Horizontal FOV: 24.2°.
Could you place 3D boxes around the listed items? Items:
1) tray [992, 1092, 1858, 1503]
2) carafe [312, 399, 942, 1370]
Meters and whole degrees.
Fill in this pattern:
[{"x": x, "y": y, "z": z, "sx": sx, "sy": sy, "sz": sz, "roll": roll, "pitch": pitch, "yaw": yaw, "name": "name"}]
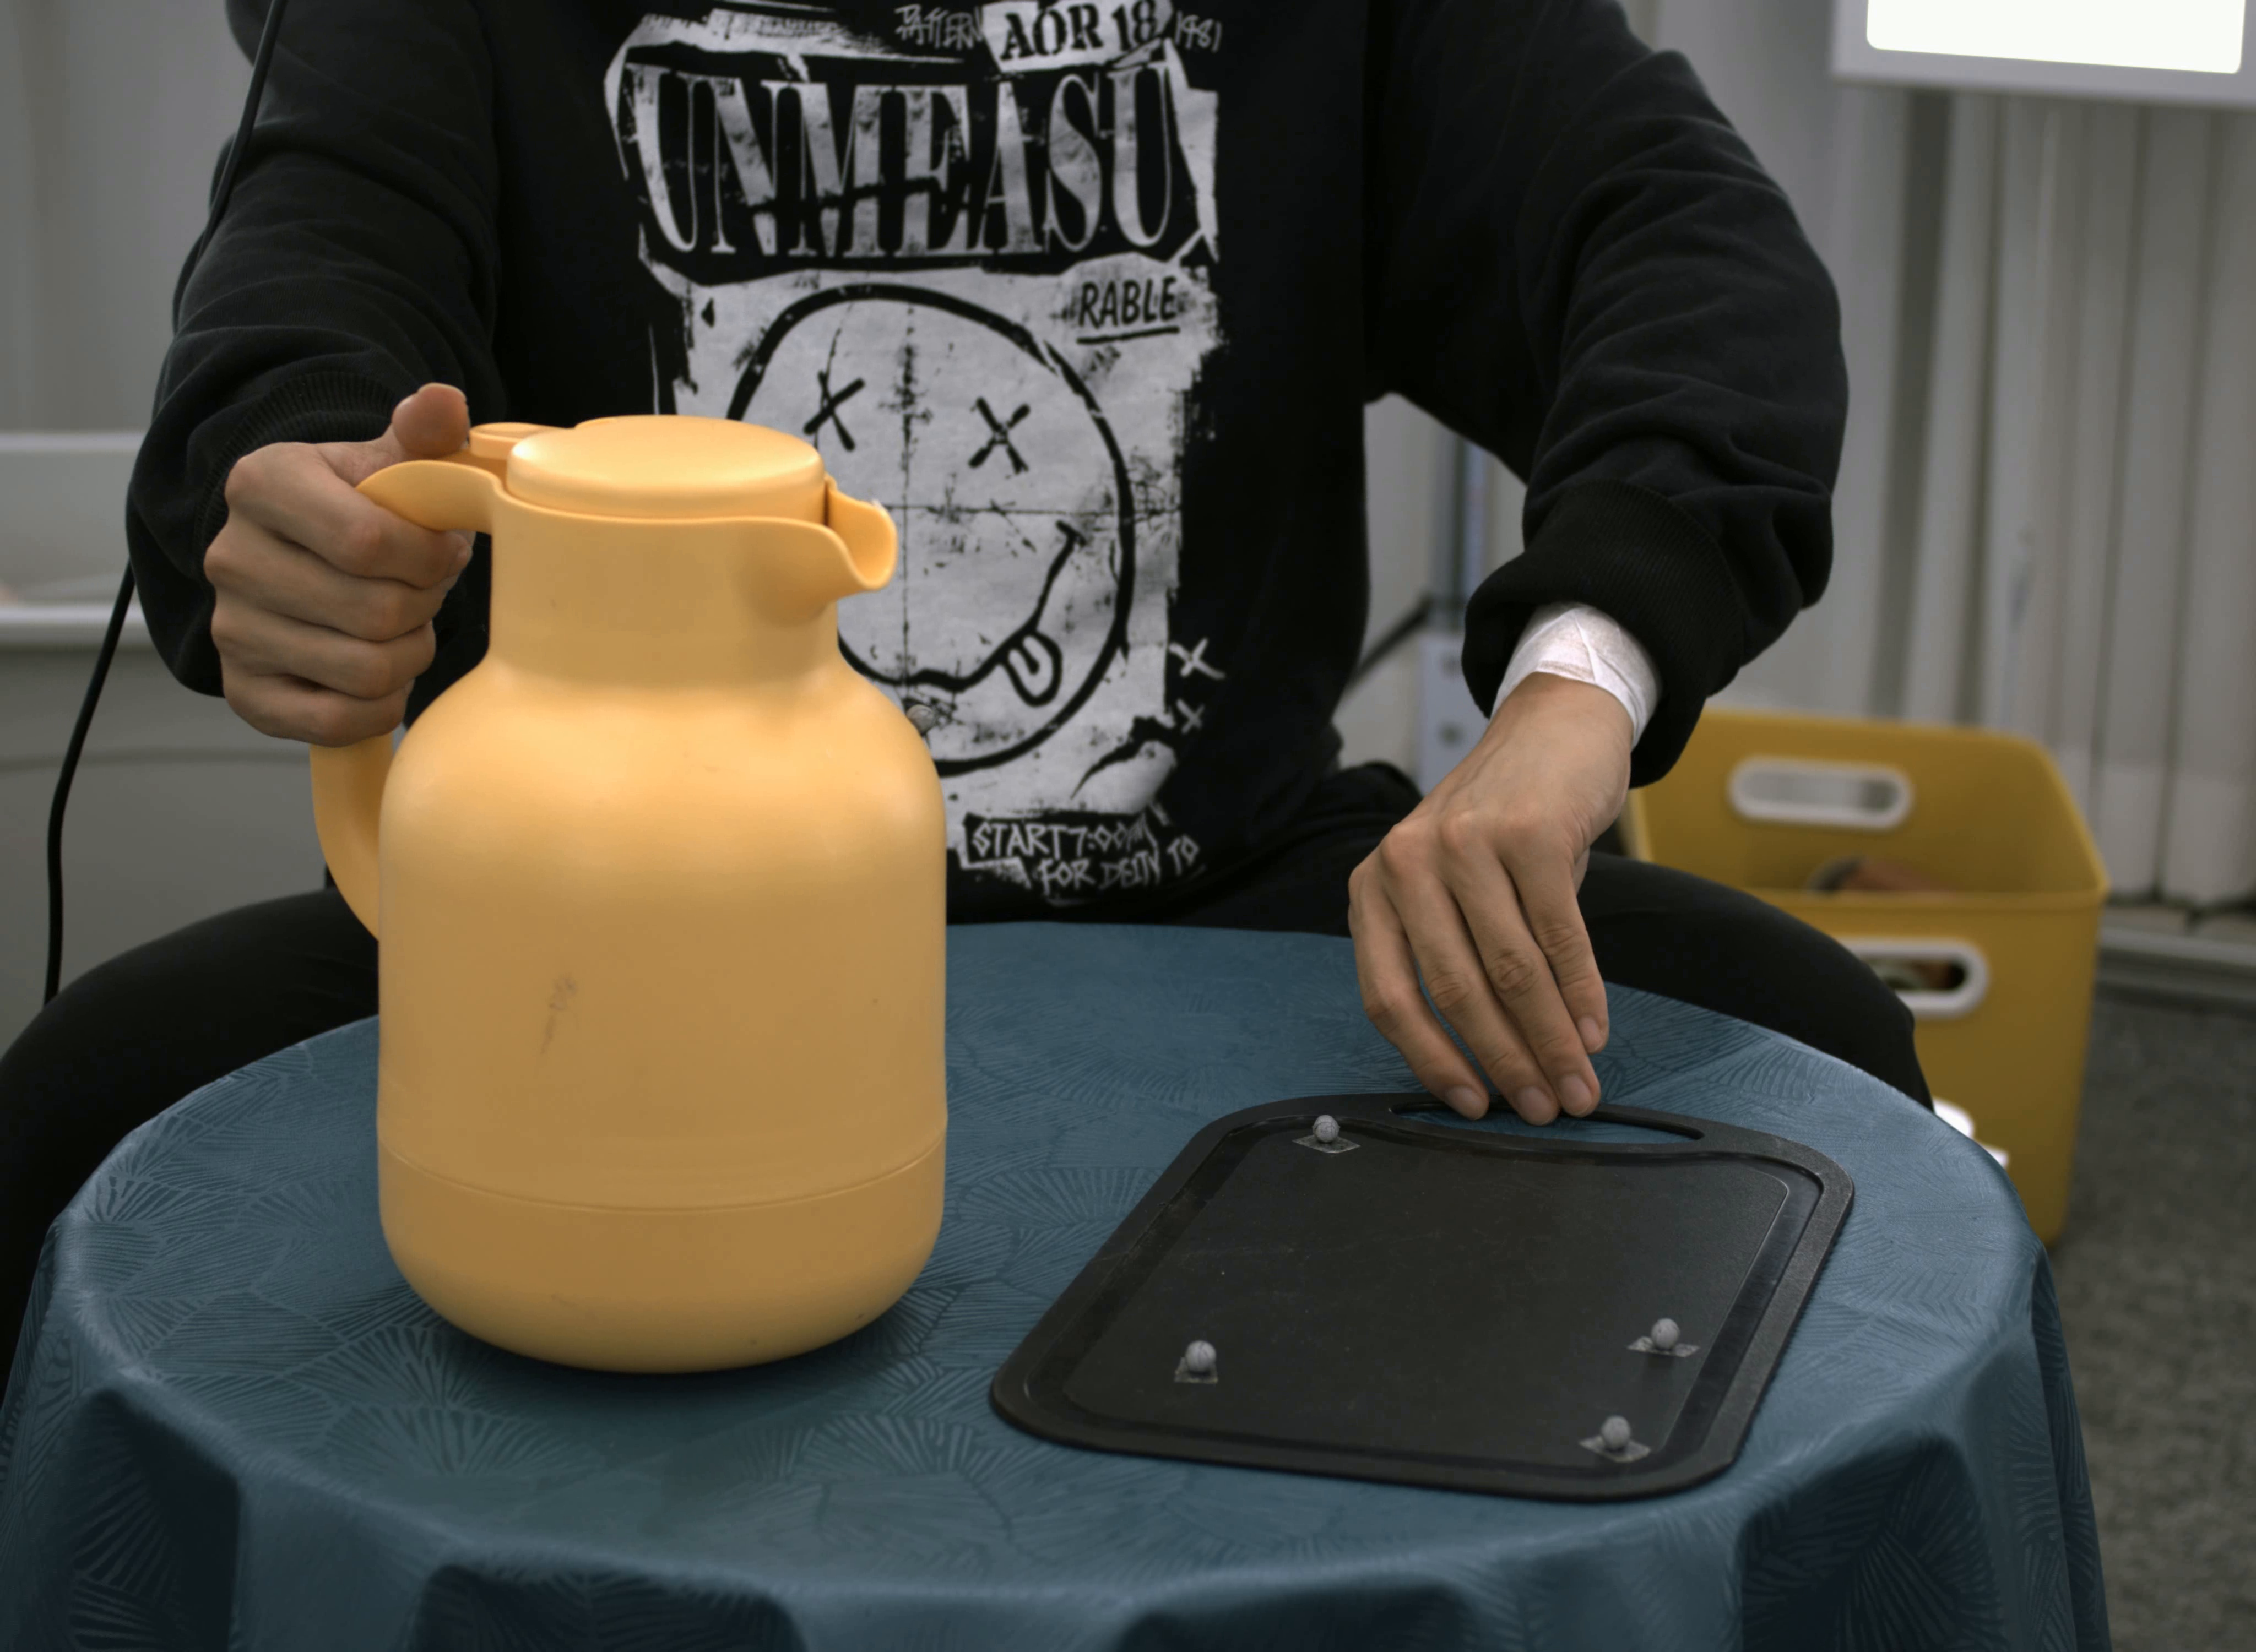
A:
[{"x": 0.095, "y": 0.129, "z": 1.552, "sx": 0.209, "sy": 0.010, "sz": 0.325, "roll": 5, "pitch": 16, "yaw": 15, "name": "tray"}, {"x": -0.148, "y": 0.008, "z": 1.494, "sx": 0.200, "sy": 0.262, "sz": 0.164, "roll": 15, "pitch": 18, "yaw": 32, "name": "carafe"}]
